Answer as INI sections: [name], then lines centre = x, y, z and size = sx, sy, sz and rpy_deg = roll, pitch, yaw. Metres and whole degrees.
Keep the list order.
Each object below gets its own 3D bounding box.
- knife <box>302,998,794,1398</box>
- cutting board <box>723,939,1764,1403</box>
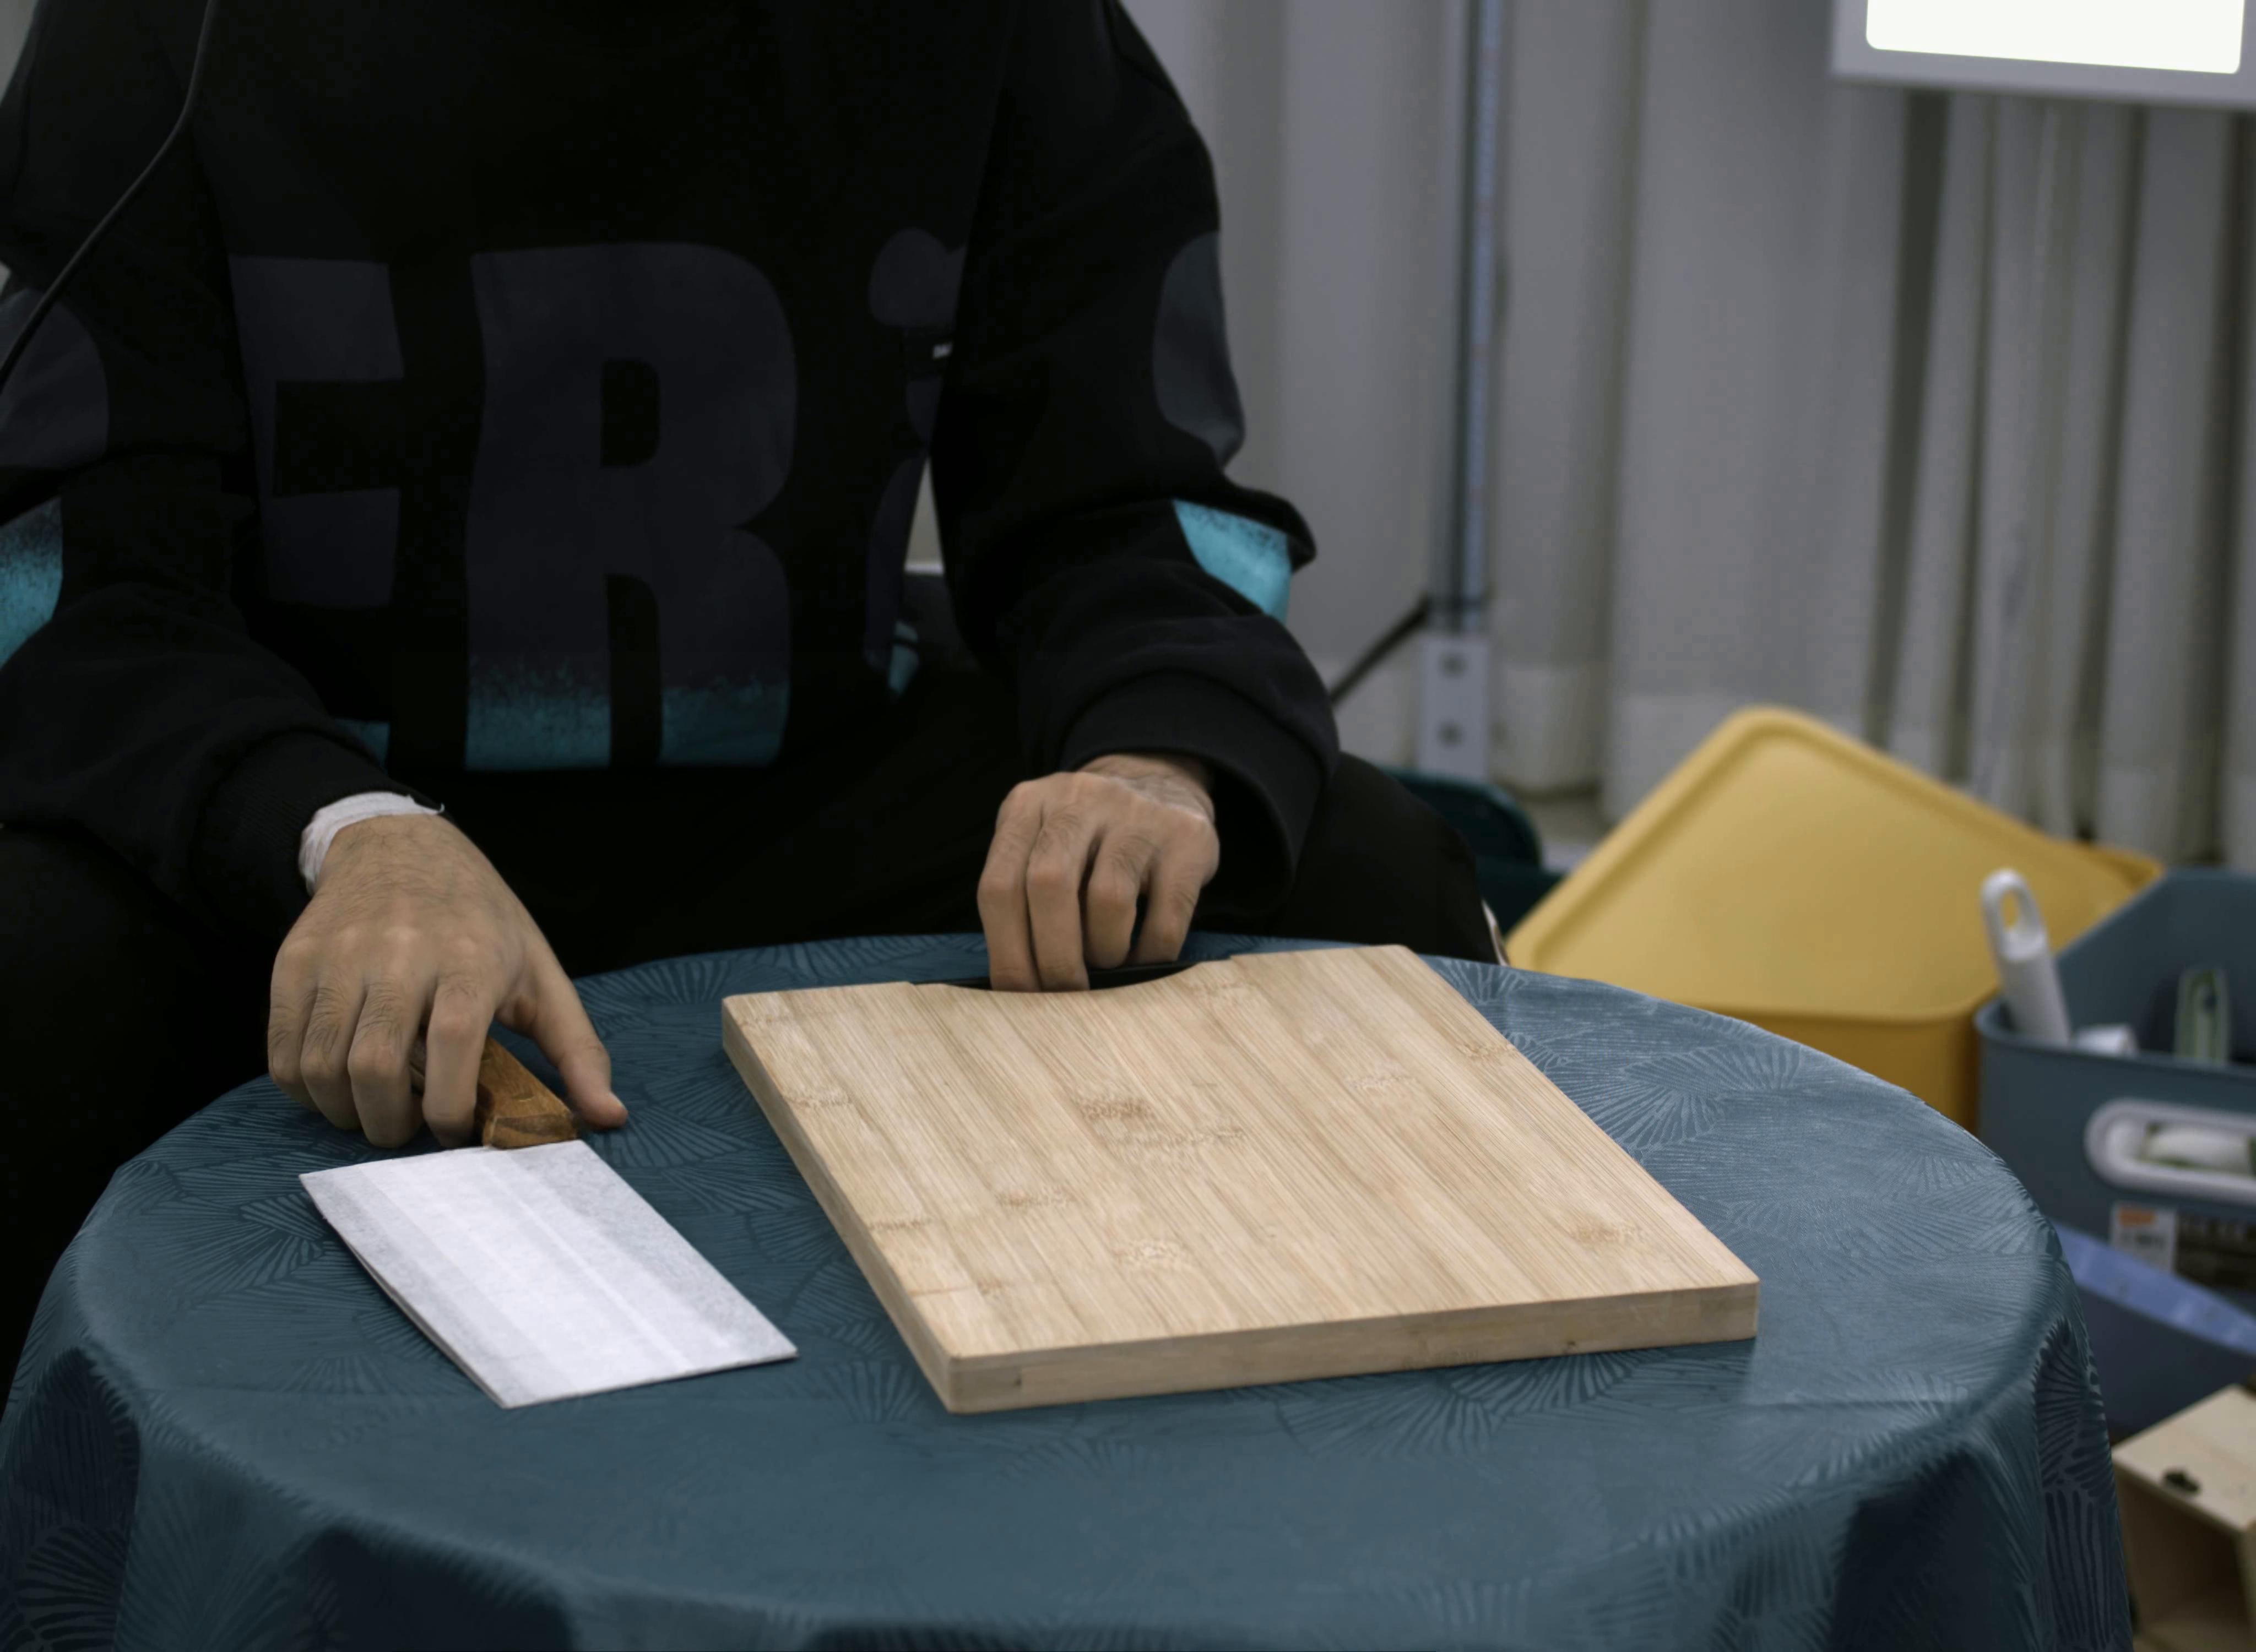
[knife]
centre = -0.196, 0.111, 1.592
size = 0.093, 0.021, 0.302
rpy_deg = -9, 20, -24
[cutting board]
centre = 0.023, 0.101, 1.633
size = 0.251, 0.024, 0.345
rpy_deg = -4, 16, -16
